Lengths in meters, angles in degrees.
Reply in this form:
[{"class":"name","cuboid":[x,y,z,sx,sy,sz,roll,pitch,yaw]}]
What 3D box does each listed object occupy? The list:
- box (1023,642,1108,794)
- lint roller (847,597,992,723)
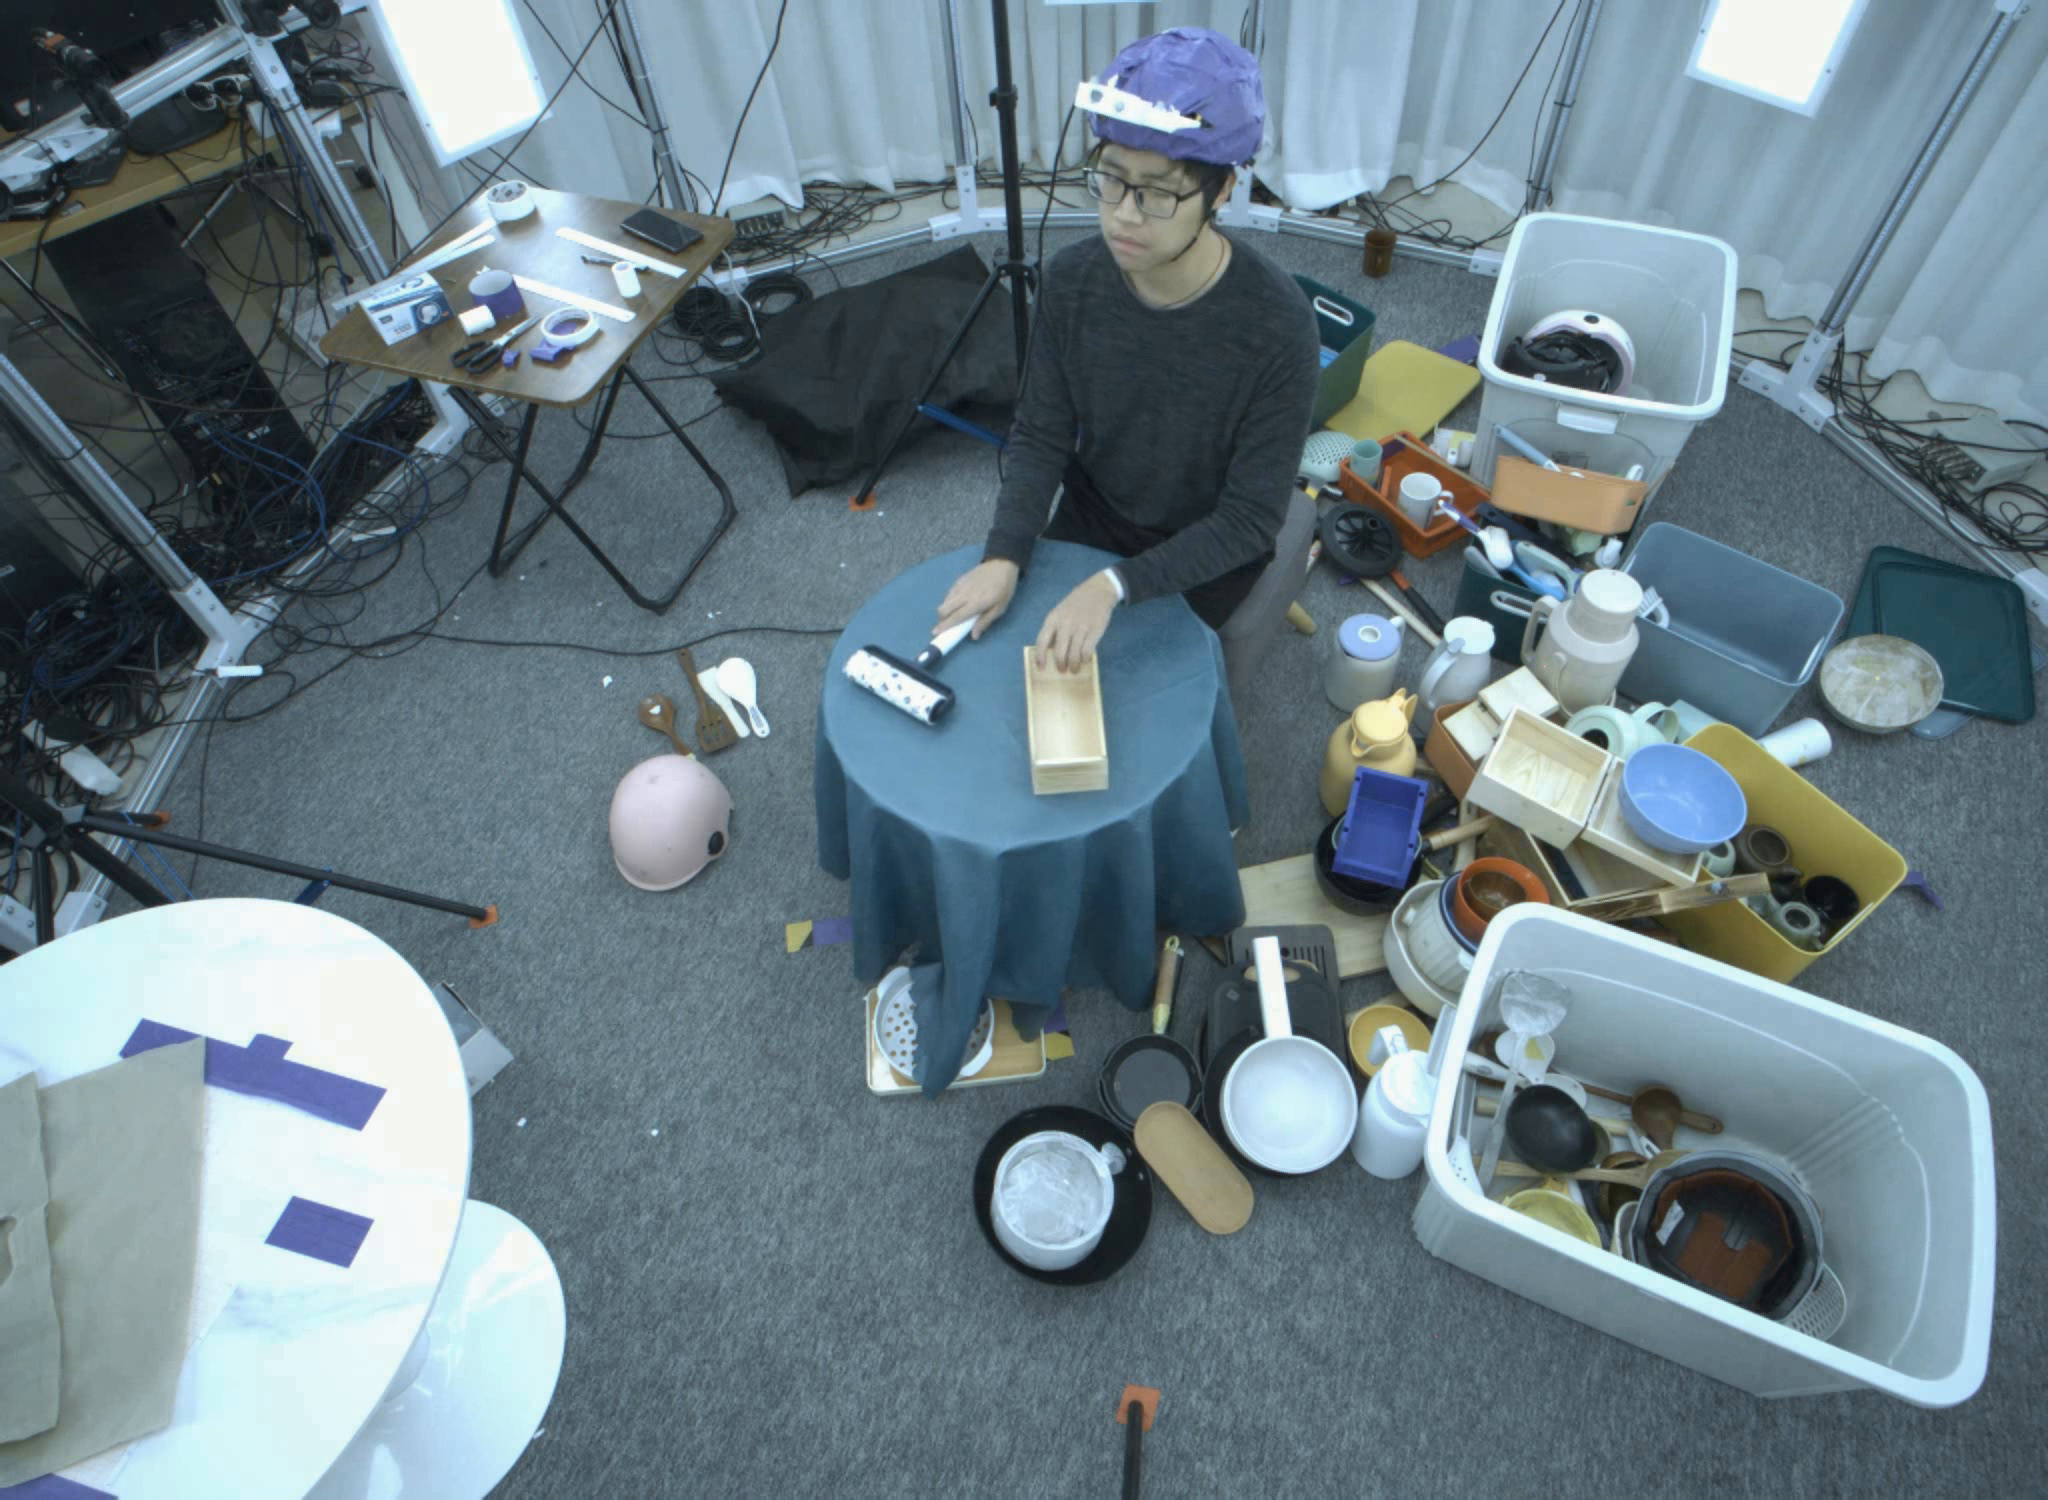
[{"class":"box","cuboid":[0.059,-0.048,1.771,0.107,0.081,0.209,-4,54,0]},{"class":"lint roller","cuboid":[-0.132,-0.162,1.879,0.173,0.051,0.248,29,60,22]}]
